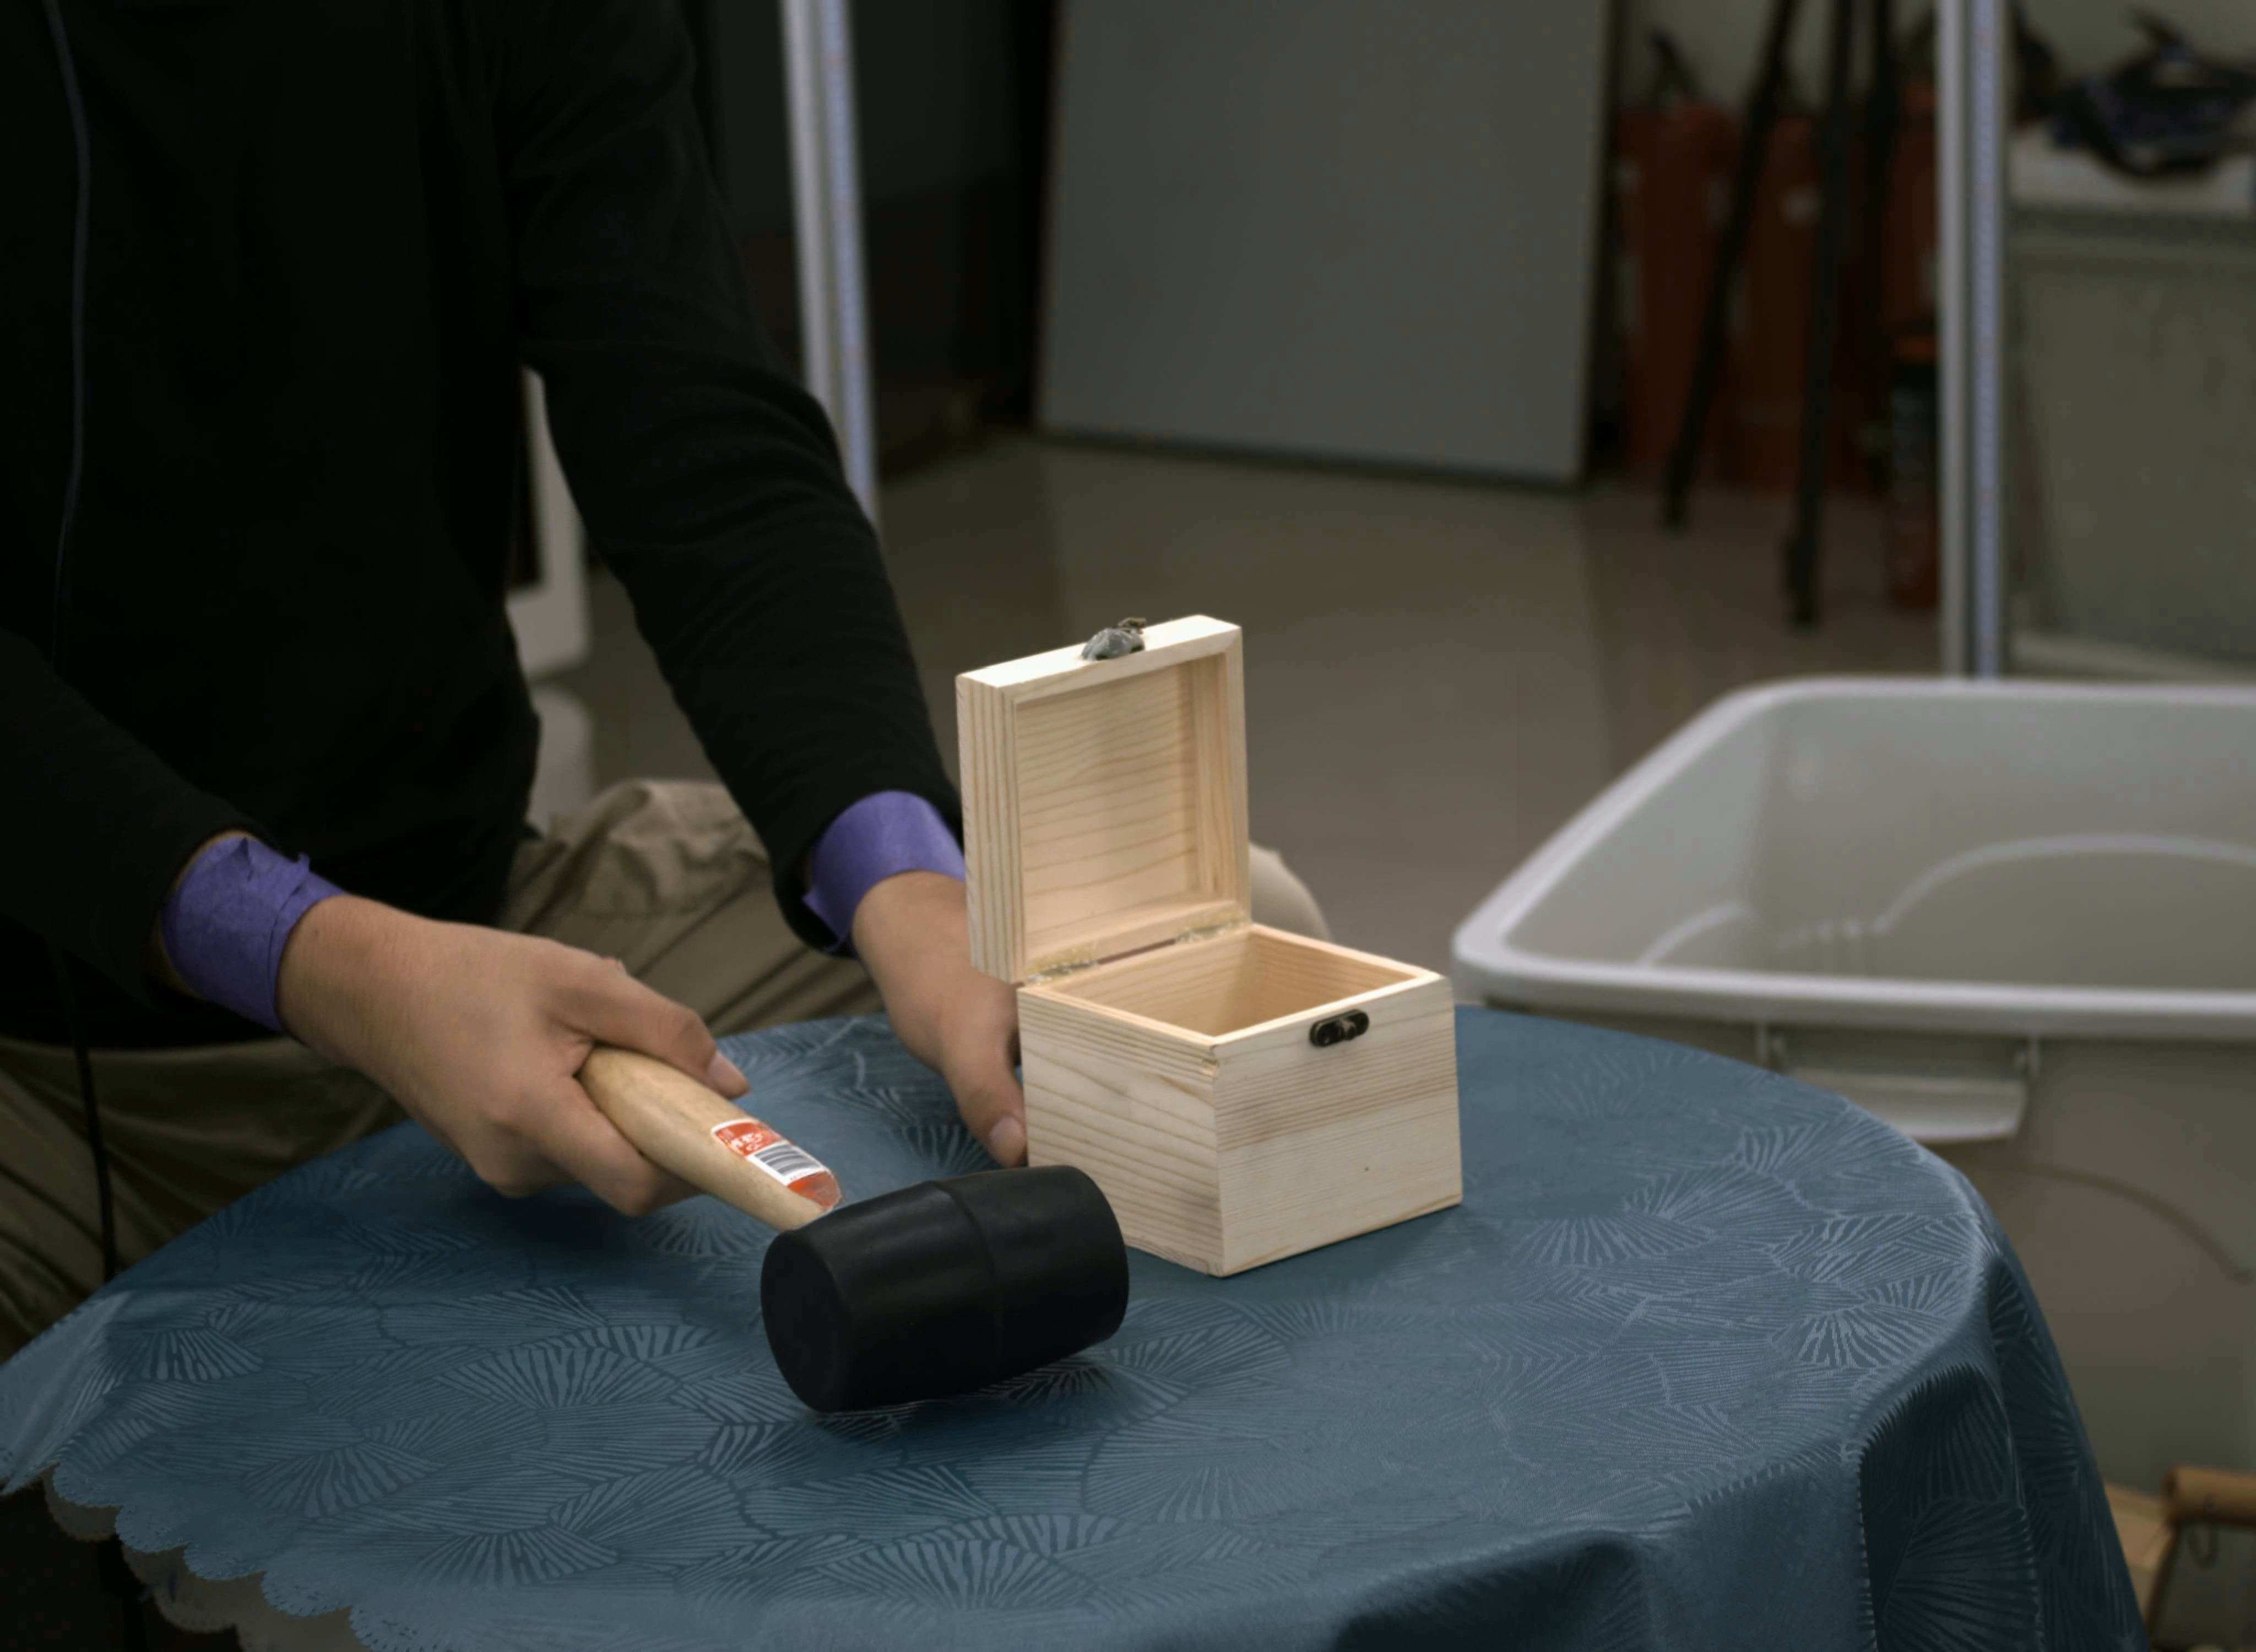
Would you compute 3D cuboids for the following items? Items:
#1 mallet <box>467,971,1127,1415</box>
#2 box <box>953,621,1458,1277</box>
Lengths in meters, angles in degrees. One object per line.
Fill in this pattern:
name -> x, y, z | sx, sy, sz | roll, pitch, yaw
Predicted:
mallet -> -0.125, 0.096, 1.702 | 0.099, 0.065, 0.343 | -8, 21, -29
box -> 0.026, 0.035, 1.736 | 0.100, 0.186, 0.135 | -12, 13, -35
